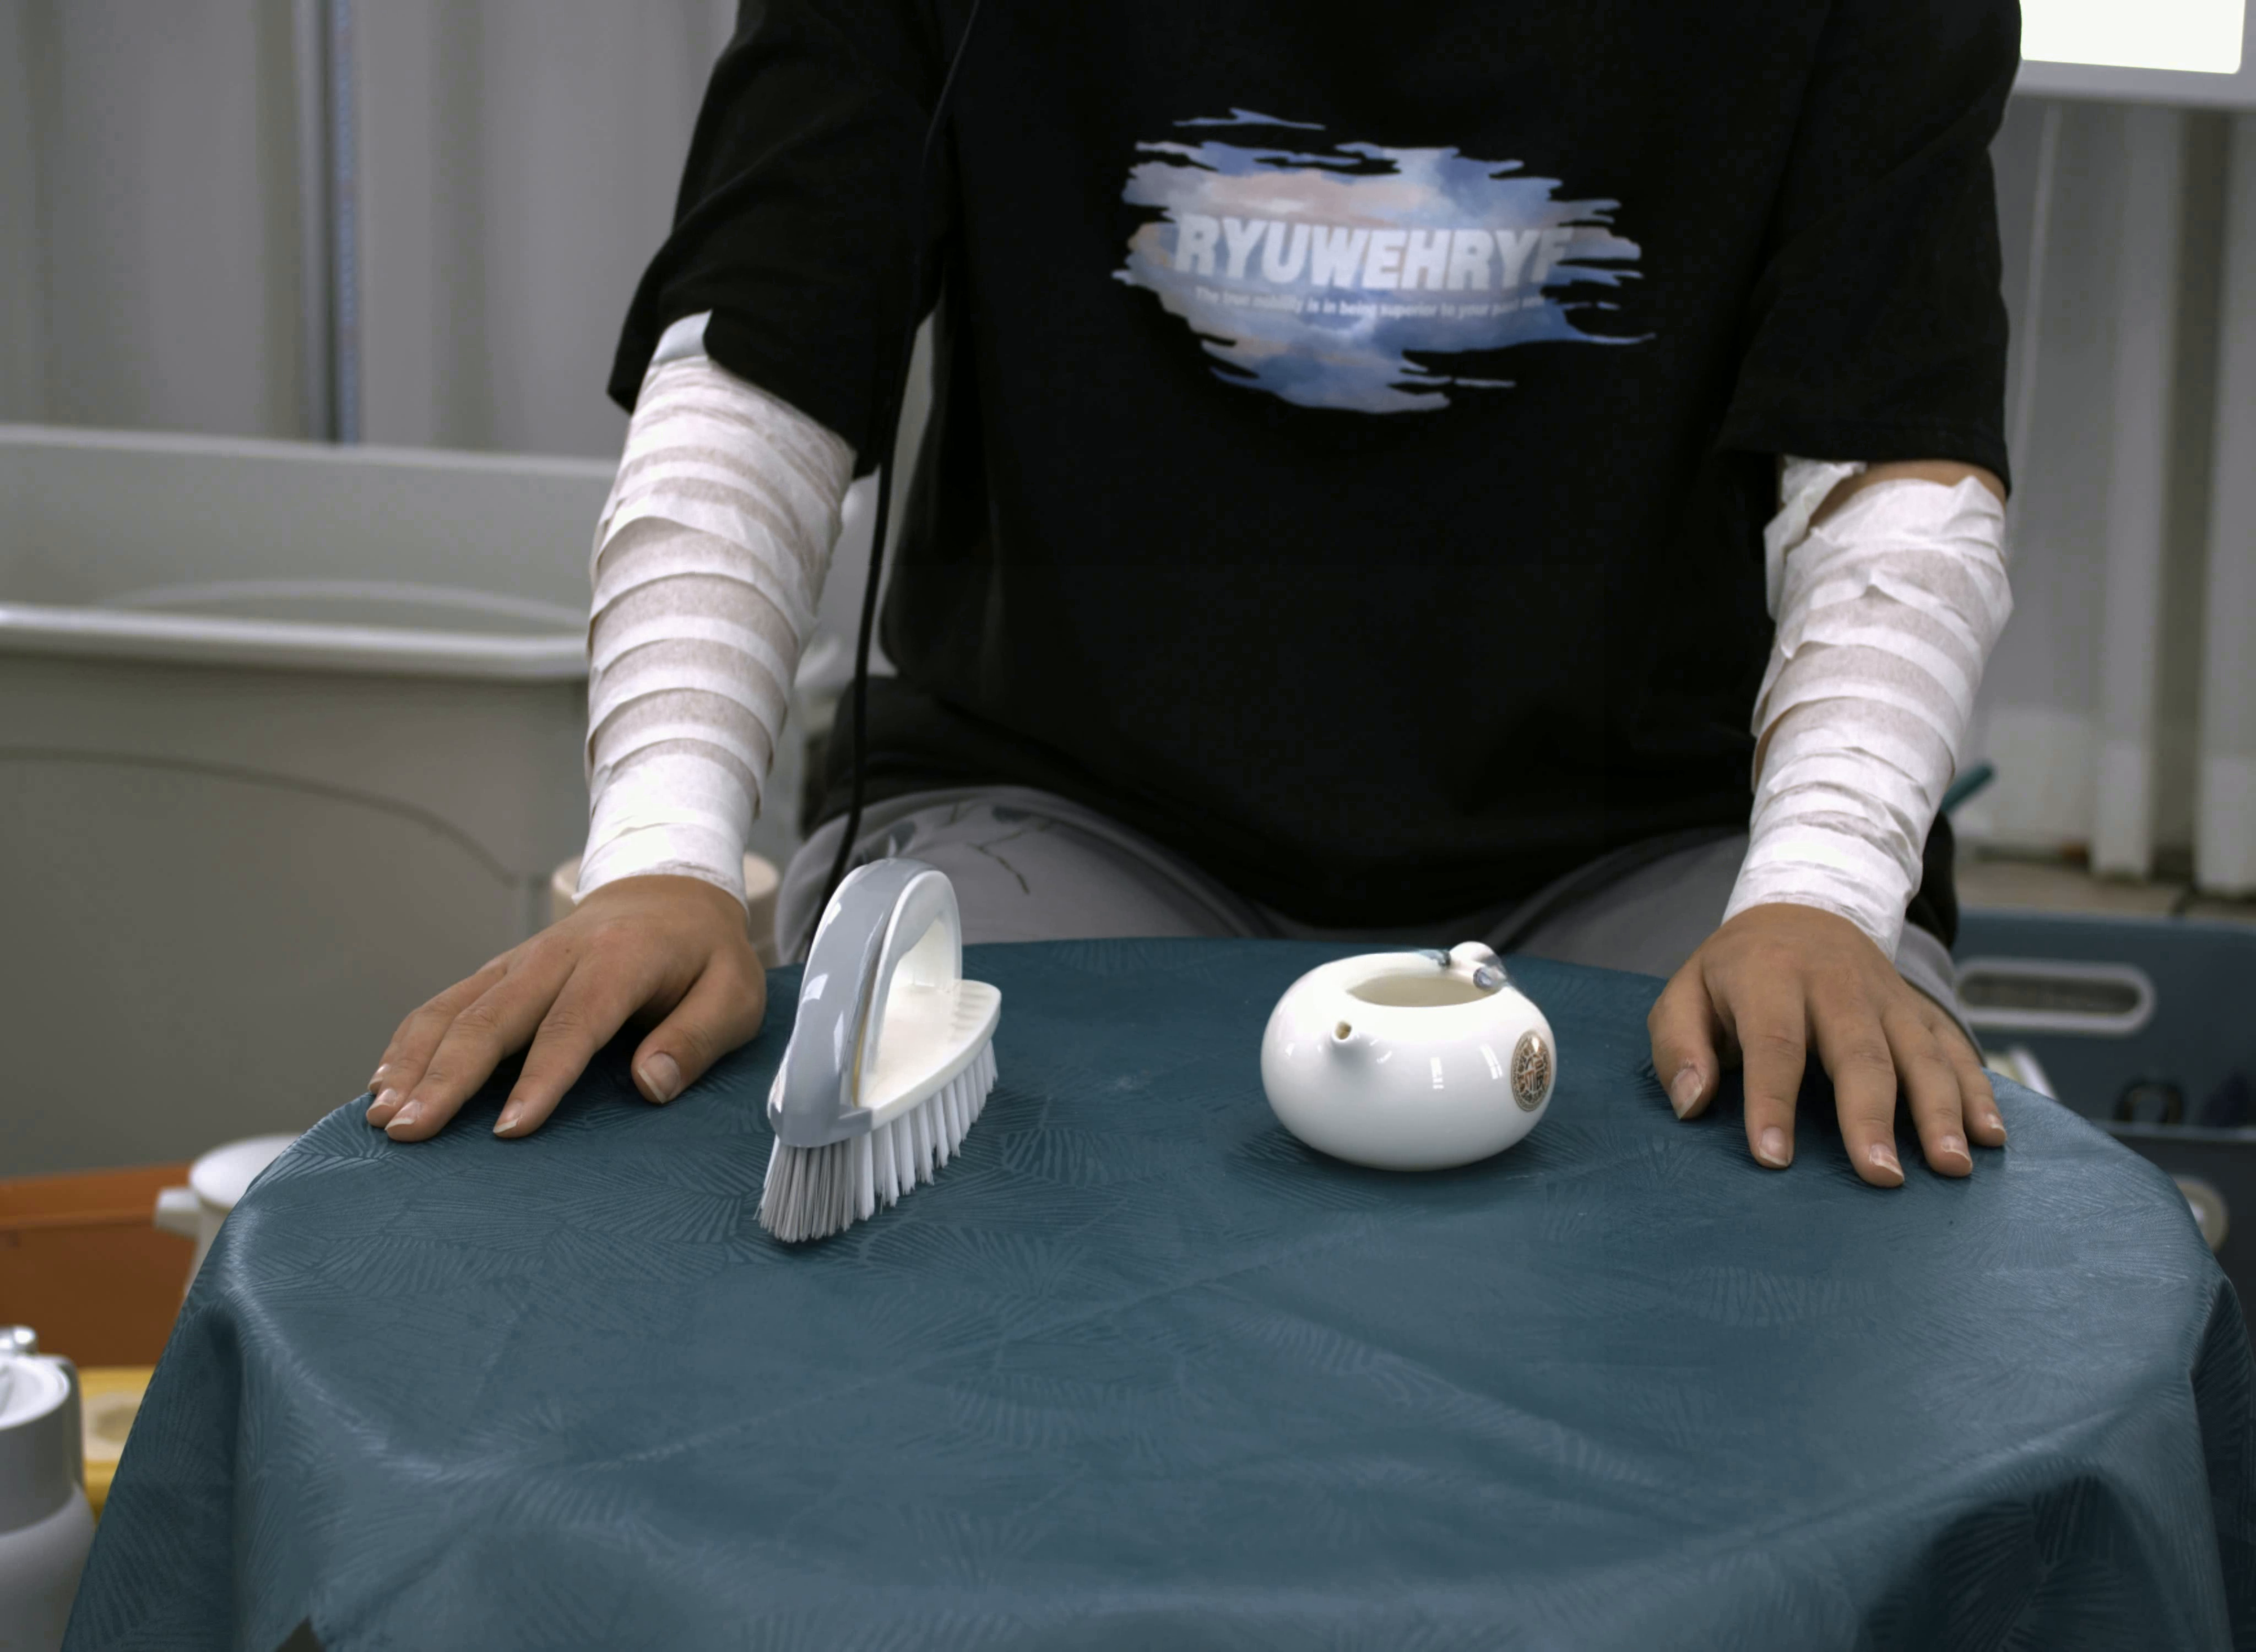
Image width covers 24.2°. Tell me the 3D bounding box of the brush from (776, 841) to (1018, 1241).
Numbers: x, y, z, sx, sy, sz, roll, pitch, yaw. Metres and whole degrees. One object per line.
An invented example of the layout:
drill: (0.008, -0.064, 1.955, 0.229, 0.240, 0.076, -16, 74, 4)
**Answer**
brush: (-0.079, 0.061, 1.635, 0.061, 0.095, 0.175, 1, 17, 12)

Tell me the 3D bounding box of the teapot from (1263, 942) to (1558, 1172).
teapot: (0.094, 0.072, 1.671, 0.092, 0.057, 0.127, 4, 15, 25)
